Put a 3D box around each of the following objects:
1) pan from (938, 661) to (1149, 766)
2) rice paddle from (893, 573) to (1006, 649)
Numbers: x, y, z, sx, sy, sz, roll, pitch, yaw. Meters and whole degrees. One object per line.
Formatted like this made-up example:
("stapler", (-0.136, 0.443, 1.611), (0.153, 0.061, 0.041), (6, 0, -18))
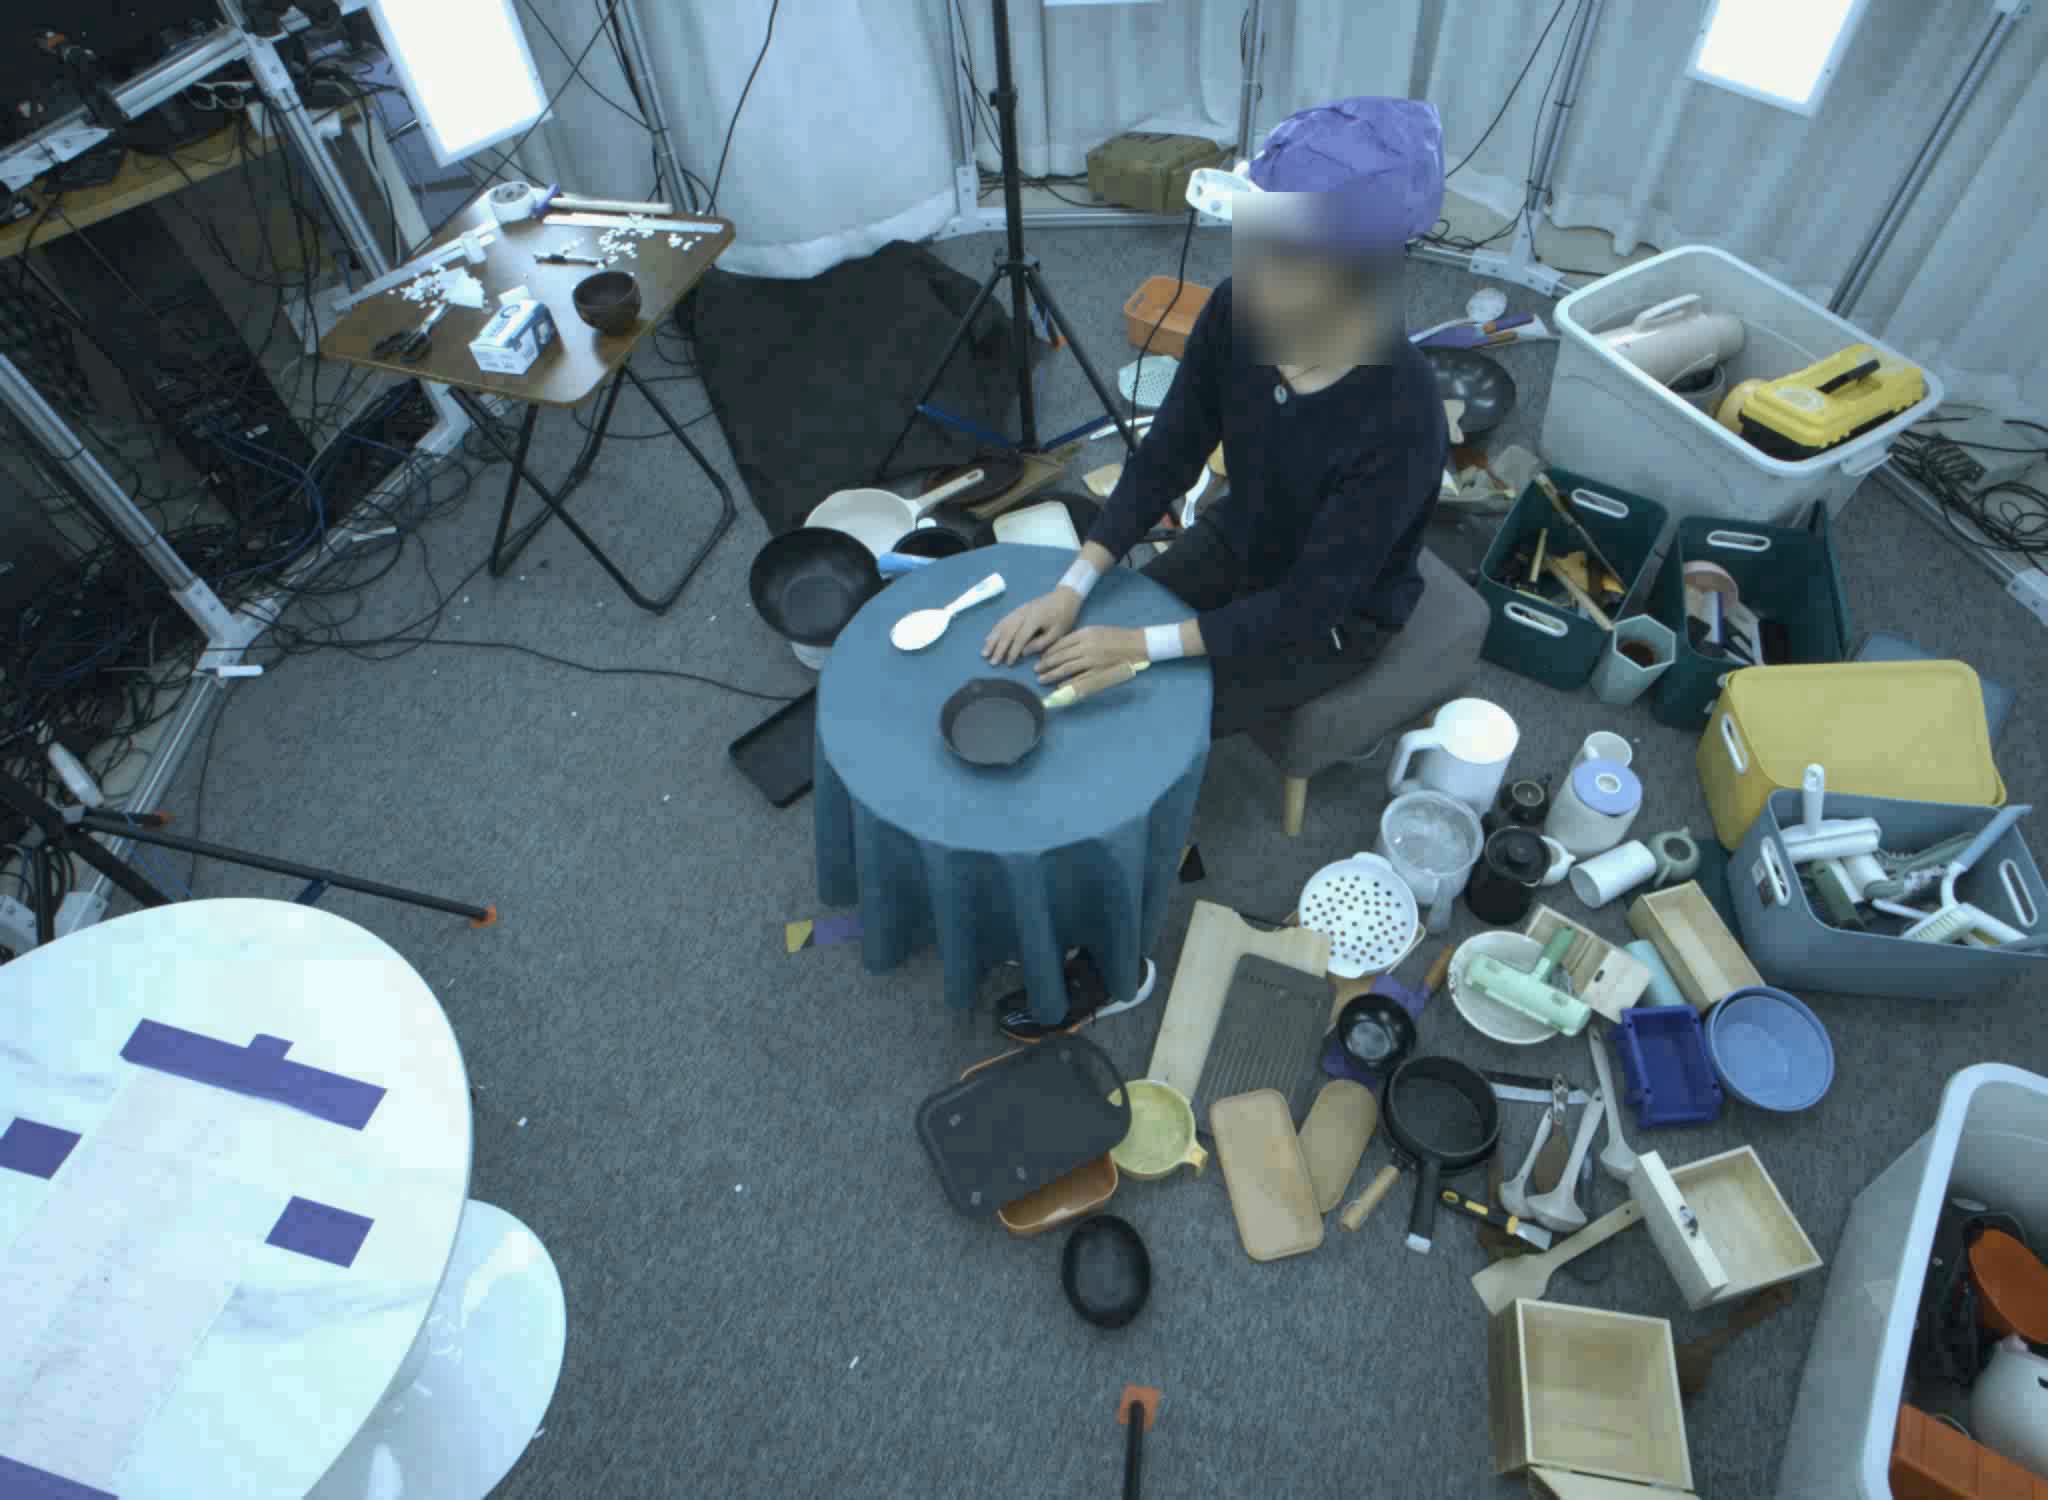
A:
("pan", (0.034, -0.067, 1.802), (0.326, 0.050, 0.166), (-18, 56, -9))
("rice paddle", (-0.118, -0.218, 1.928), (0.207, 0.030, 0.067), (-34, 58, -20))
